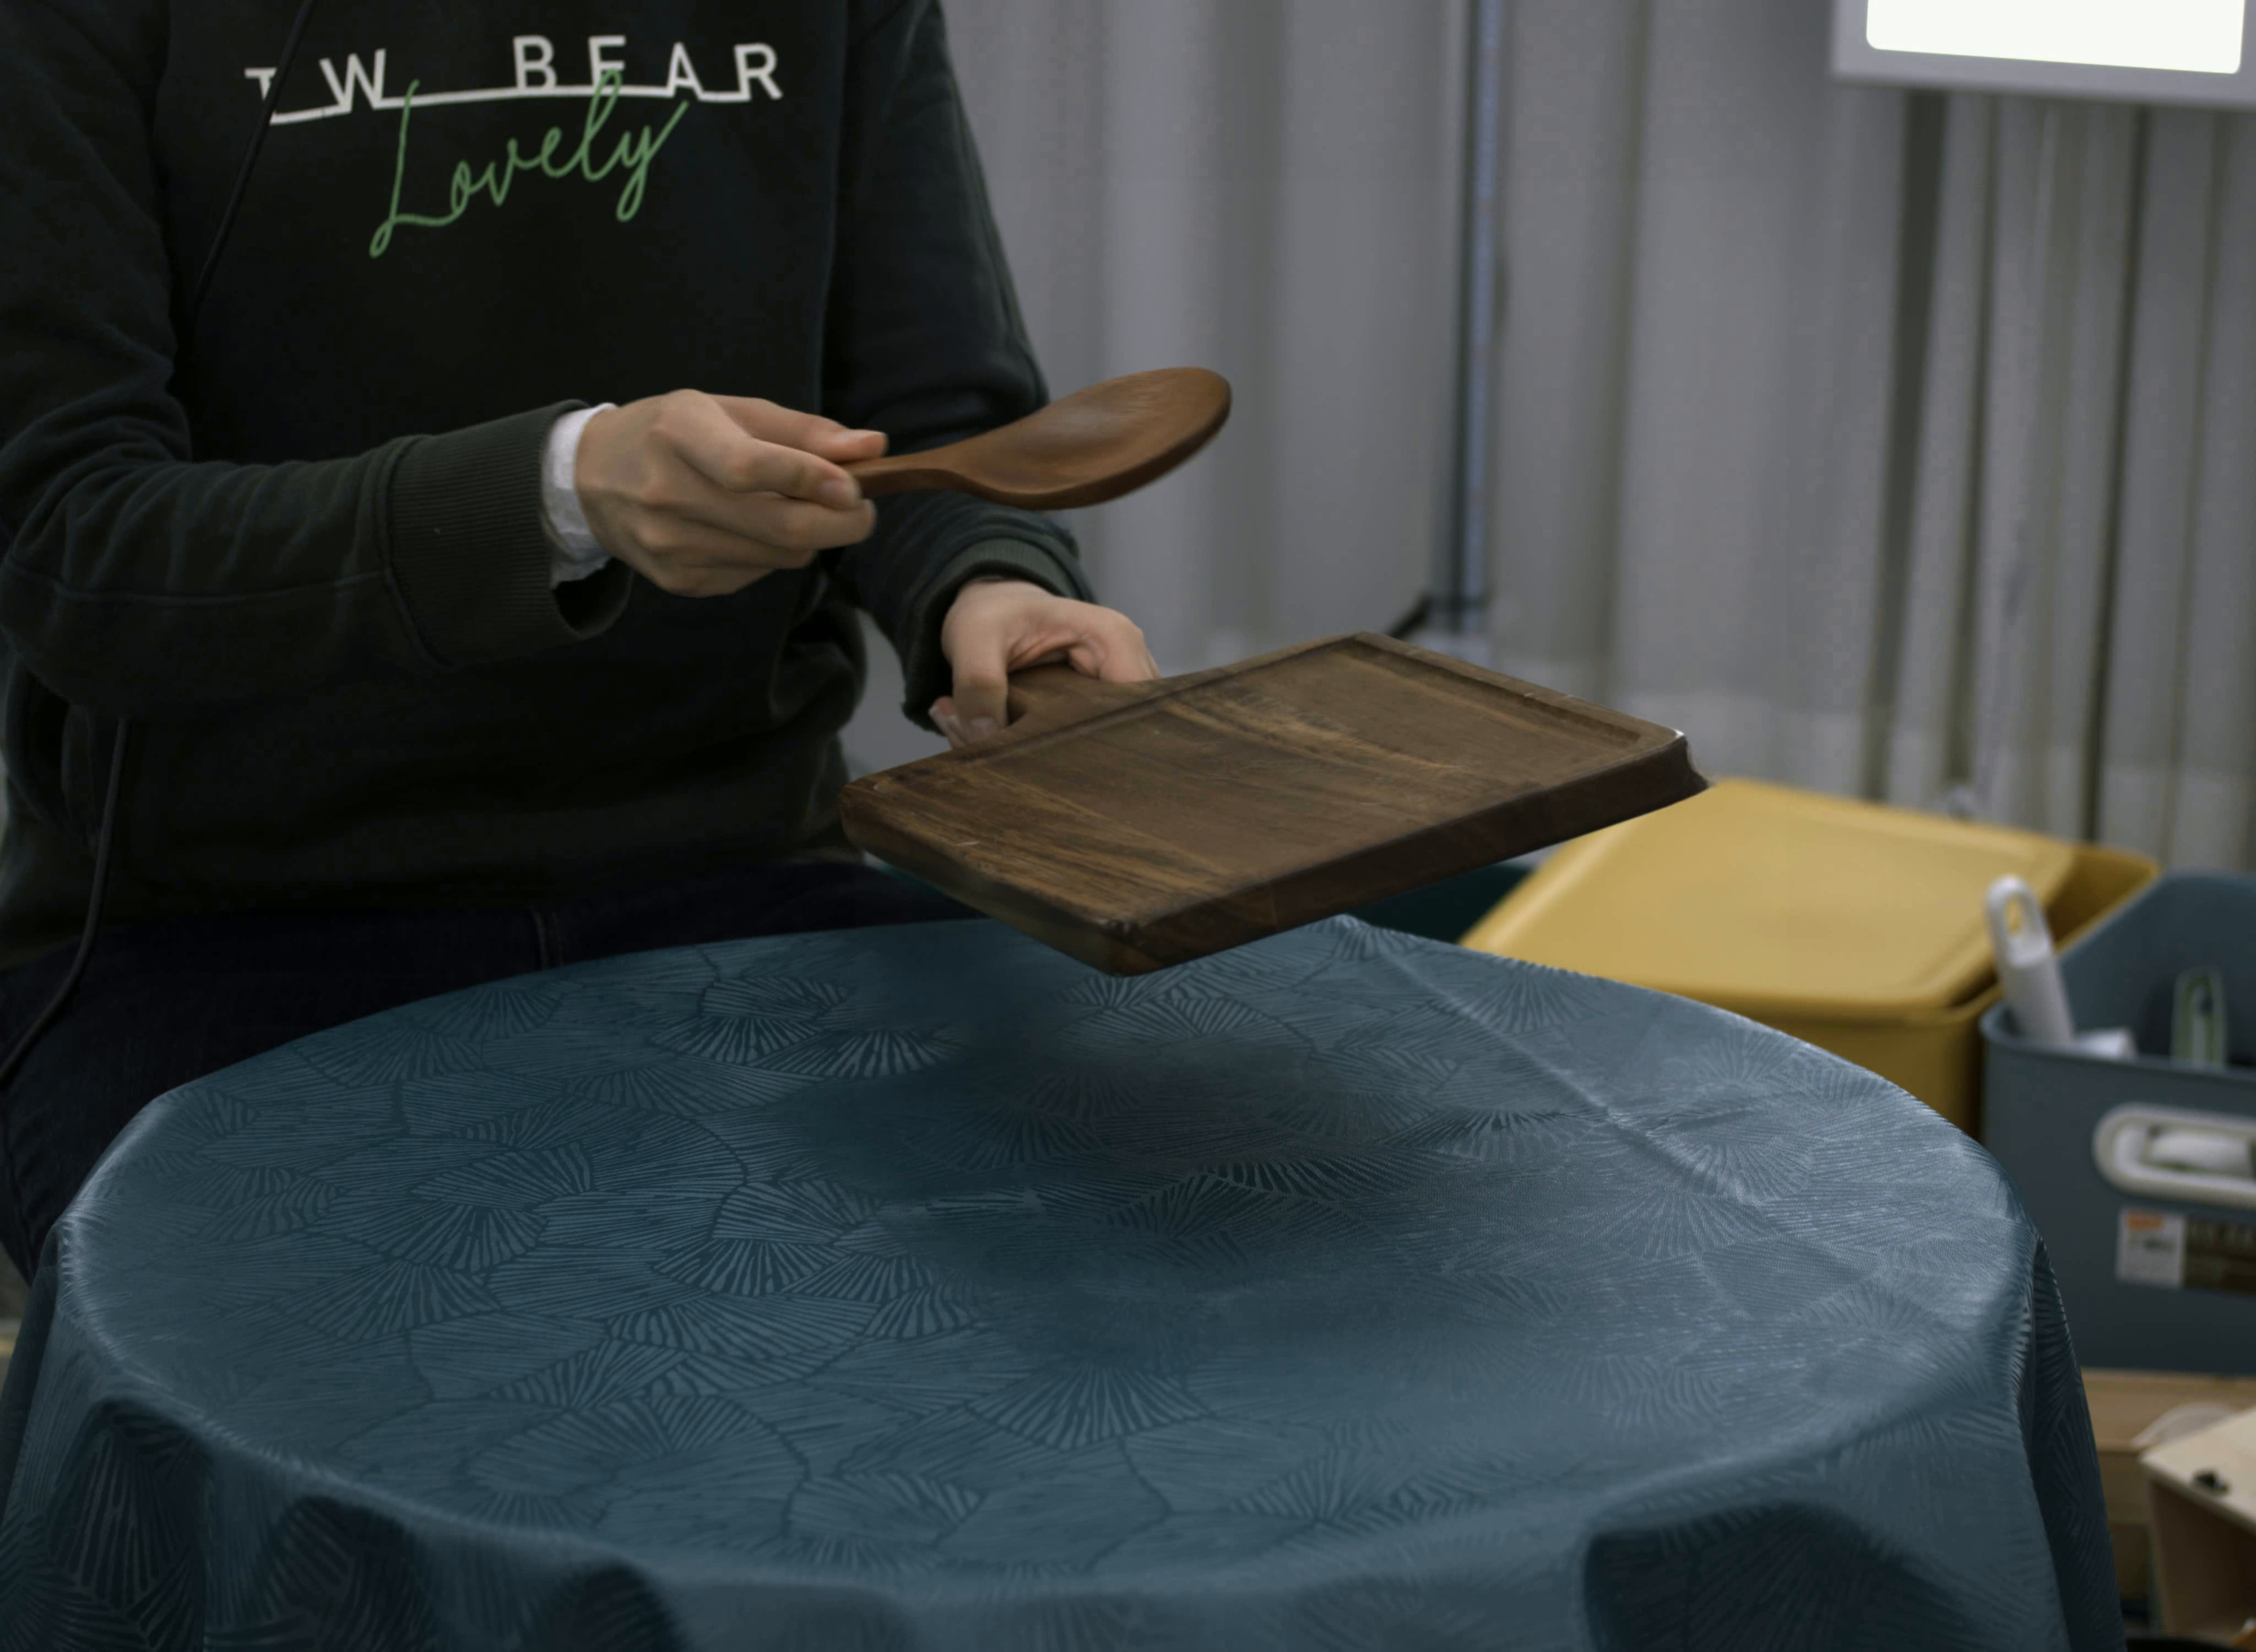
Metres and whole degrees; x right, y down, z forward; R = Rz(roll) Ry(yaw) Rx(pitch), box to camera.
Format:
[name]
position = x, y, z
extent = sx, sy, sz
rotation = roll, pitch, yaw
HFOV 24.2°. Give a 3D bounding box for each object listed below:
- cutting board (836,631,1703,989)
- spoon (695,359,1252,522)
[cutting board]
position = 0.020, -0.018, 1.693
extent = 0.201, 0.023, 0.348
rotation = -18, 16, -19
[spoon]
position = -0.052, -0.116, 1.691
extent = 0.213, 0.017, 0.075
rotation = -4, 37, 34
